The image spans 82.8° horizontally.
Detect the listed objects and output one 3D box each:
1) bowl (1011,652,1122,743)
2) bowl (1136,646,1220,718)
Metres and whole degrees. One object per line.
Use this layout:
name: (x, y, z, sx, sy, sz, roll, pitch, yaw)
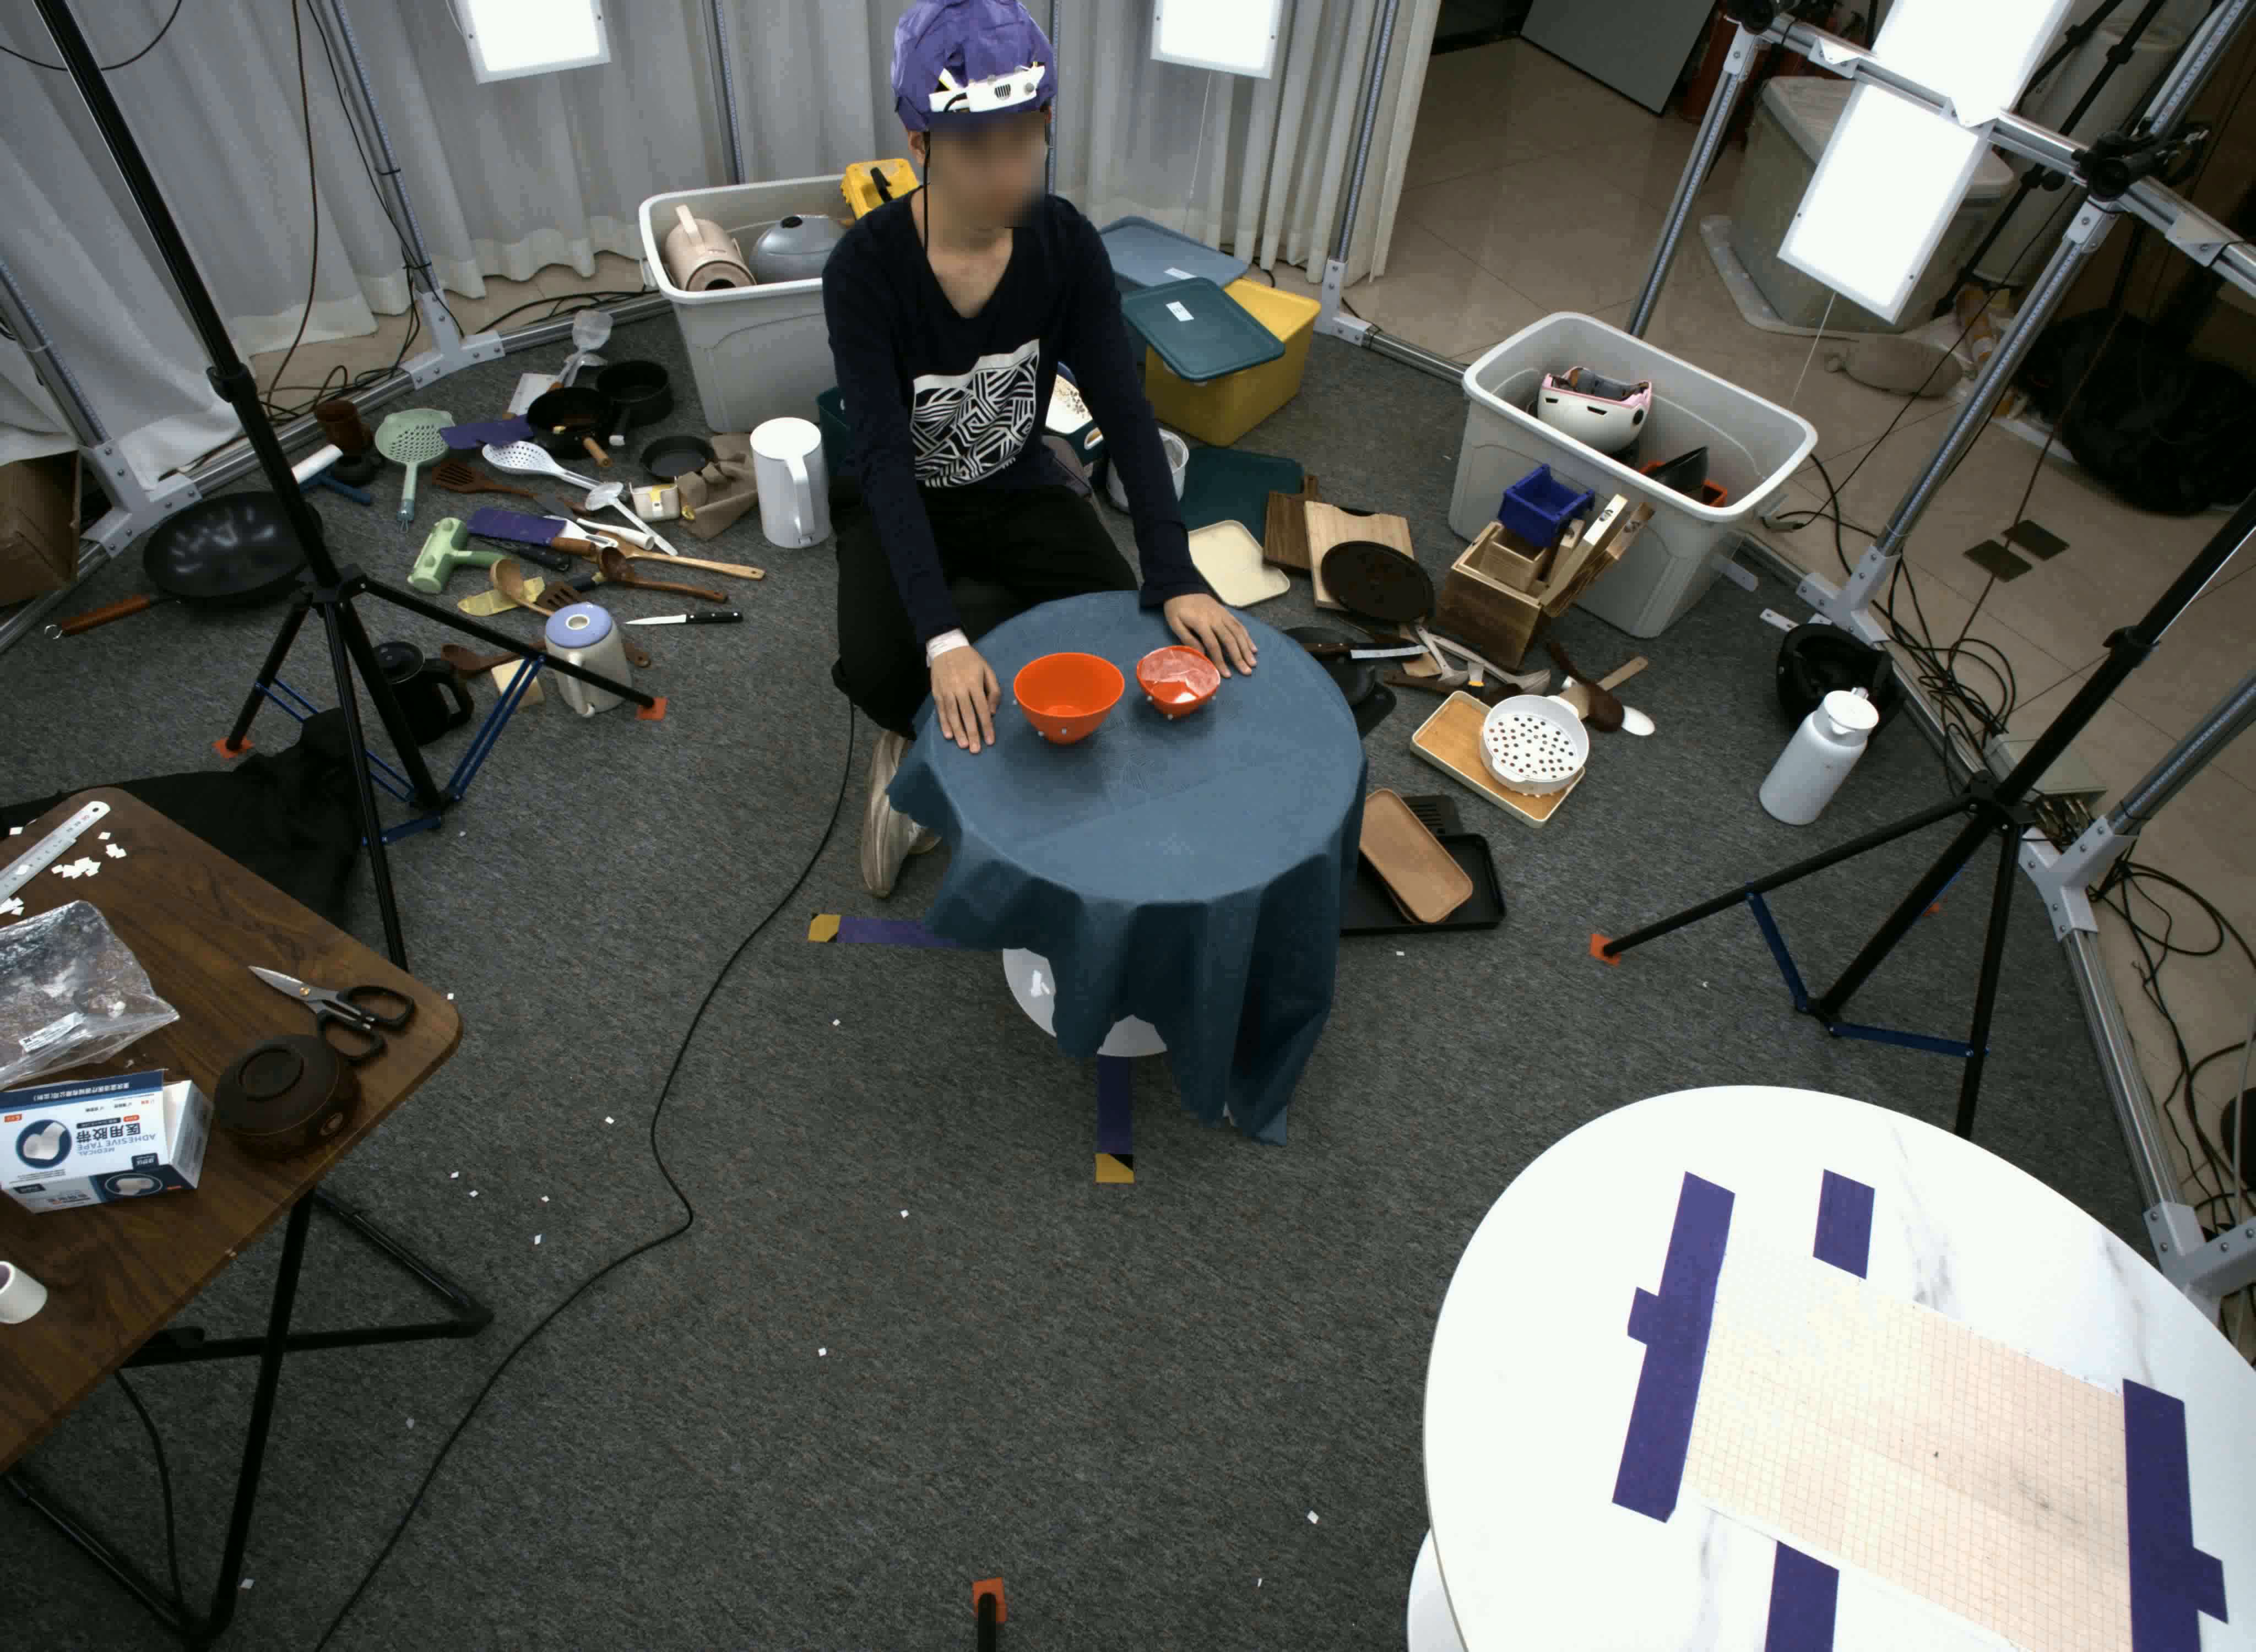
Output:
bowl: (-0.084, -0.163, 1.738, 0.148, 0.102, 0.152, 2, 49, -2)
bowl: (0.069, -0.198, 1.812, 0.119, 0.050, 0.122, 1, 49, -1)
